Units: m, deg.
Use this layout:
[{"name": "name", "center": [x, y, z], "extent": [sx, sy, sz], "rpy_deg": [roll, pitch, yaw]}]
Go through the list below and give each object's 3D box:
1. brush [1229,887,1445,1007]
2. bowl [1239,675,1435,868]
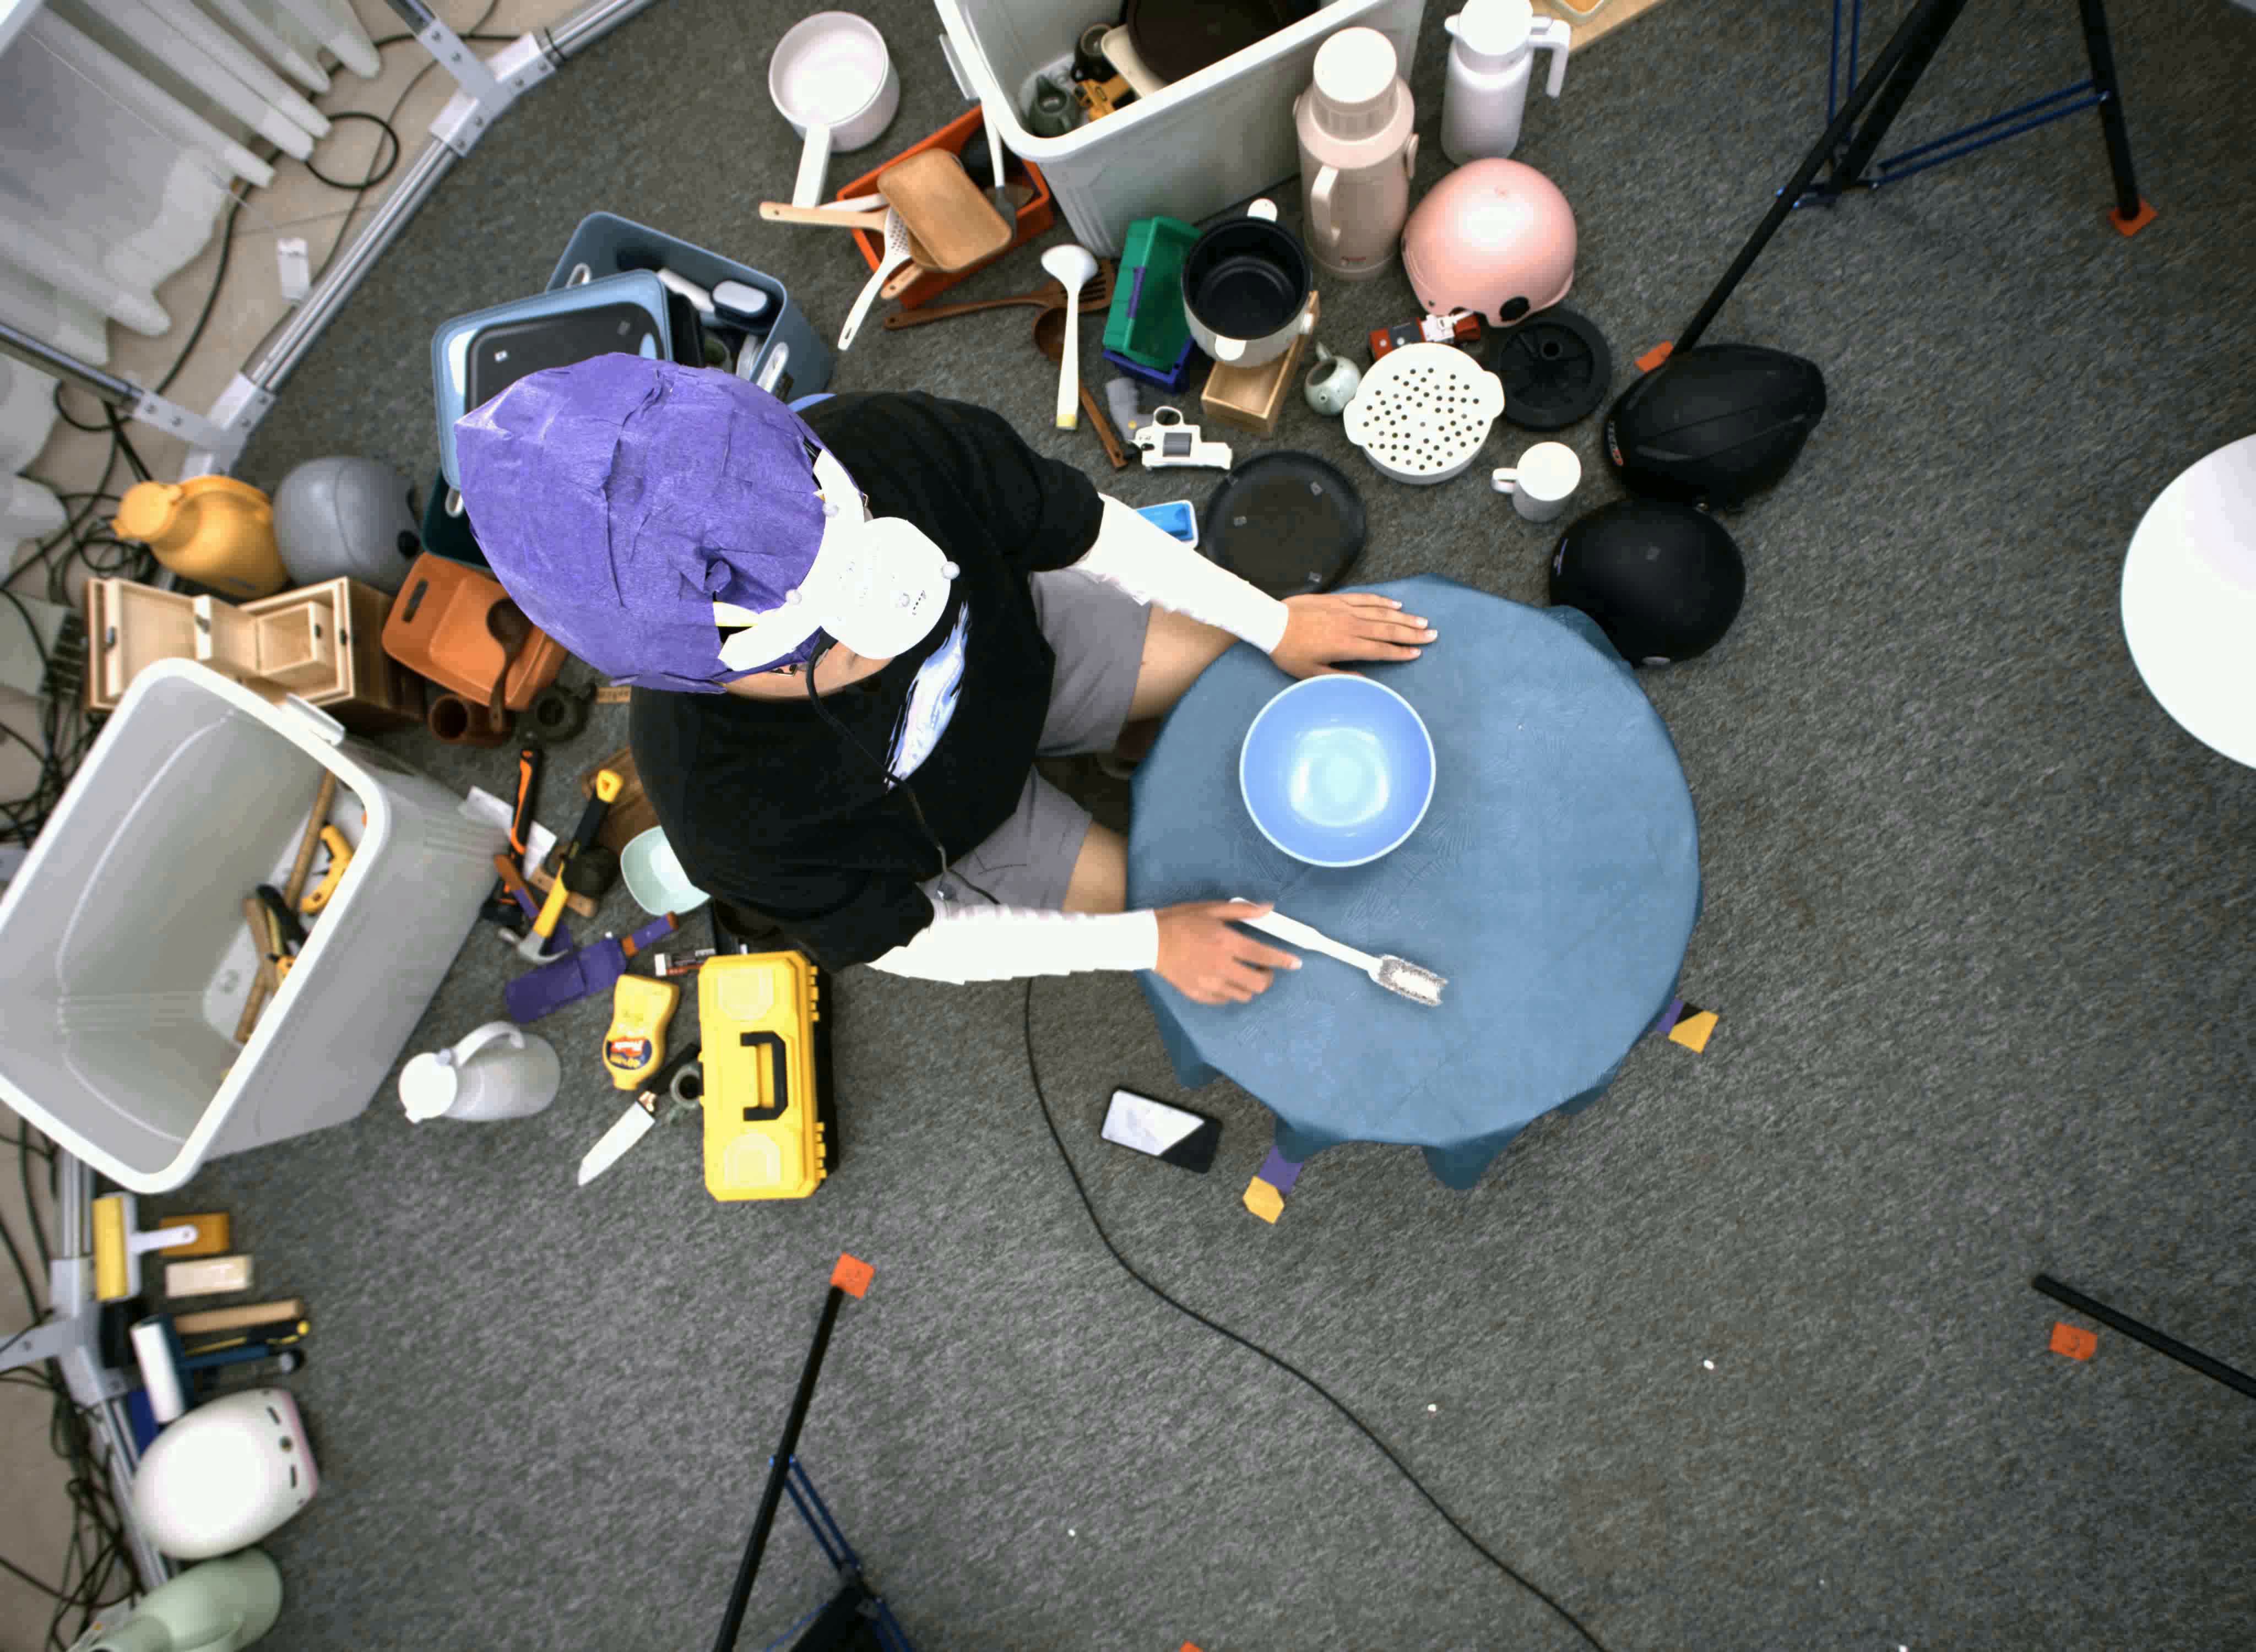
[{"name": "brush", "center": [0.214, 0.122, 1.441], "extent": [0.243, 0.050, 0.034], "rpy_deg": [26, 93, 11]}, {"name": "bowl", "center": [0.218, -0.053, 1.430], "extent": [0.197, 0.095, 0.196], "rpy_deg": [-1, 88, 13]}]
